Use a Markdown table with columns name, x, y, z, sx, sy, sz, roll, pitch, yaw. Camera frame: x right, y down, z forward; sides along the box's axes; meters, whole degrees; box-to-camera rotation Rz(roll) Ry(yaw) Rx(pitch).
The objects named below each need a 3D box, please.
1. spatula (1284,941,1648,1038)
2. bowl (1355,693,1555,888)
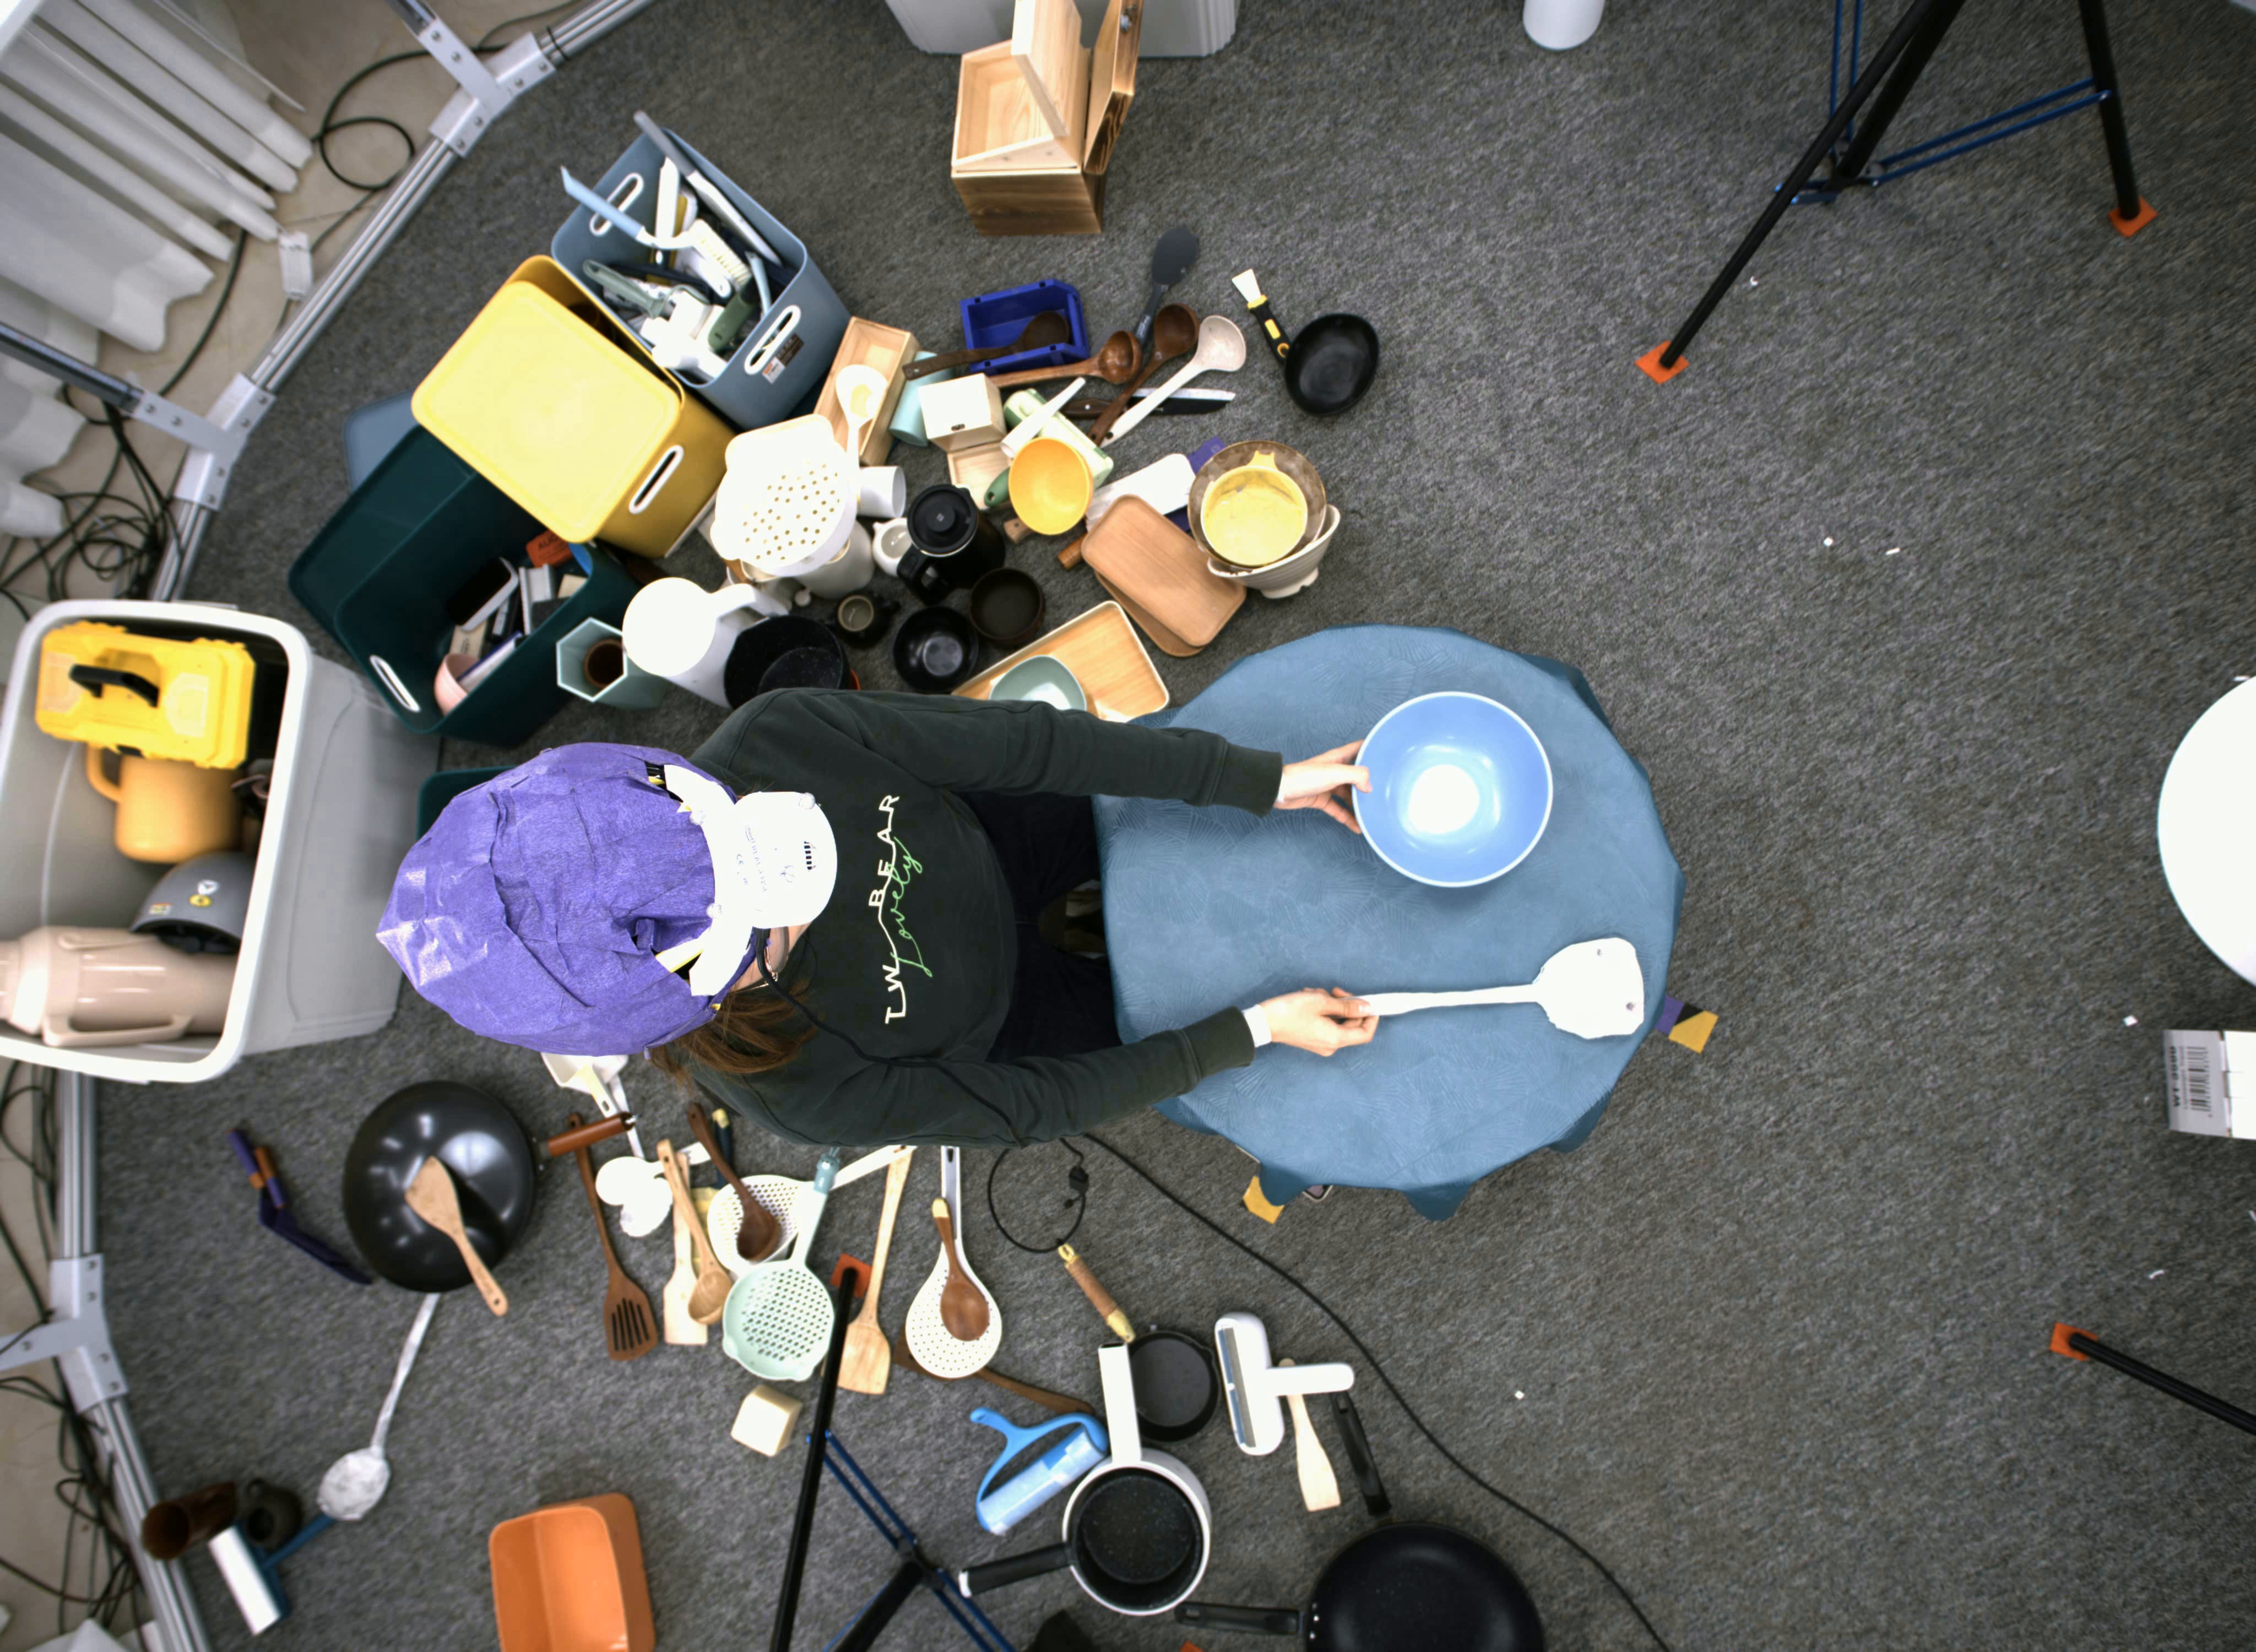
| name | x | y | z | sx | sy | sz | roll | pitch | yaw |
| --- | --- | --- | --- | --- | --- | --- | --- | --- | --- |
| spatula | 0.343 | 0.173 | 1.418 | 0.366 | 0.045 | 0.098 | -4 | 84 | 6 |
| bowl | 0.330 | -0.032 | 1.410 | 0.197 | 0.096 | 0.195 | -1 | 84 | 7 |
